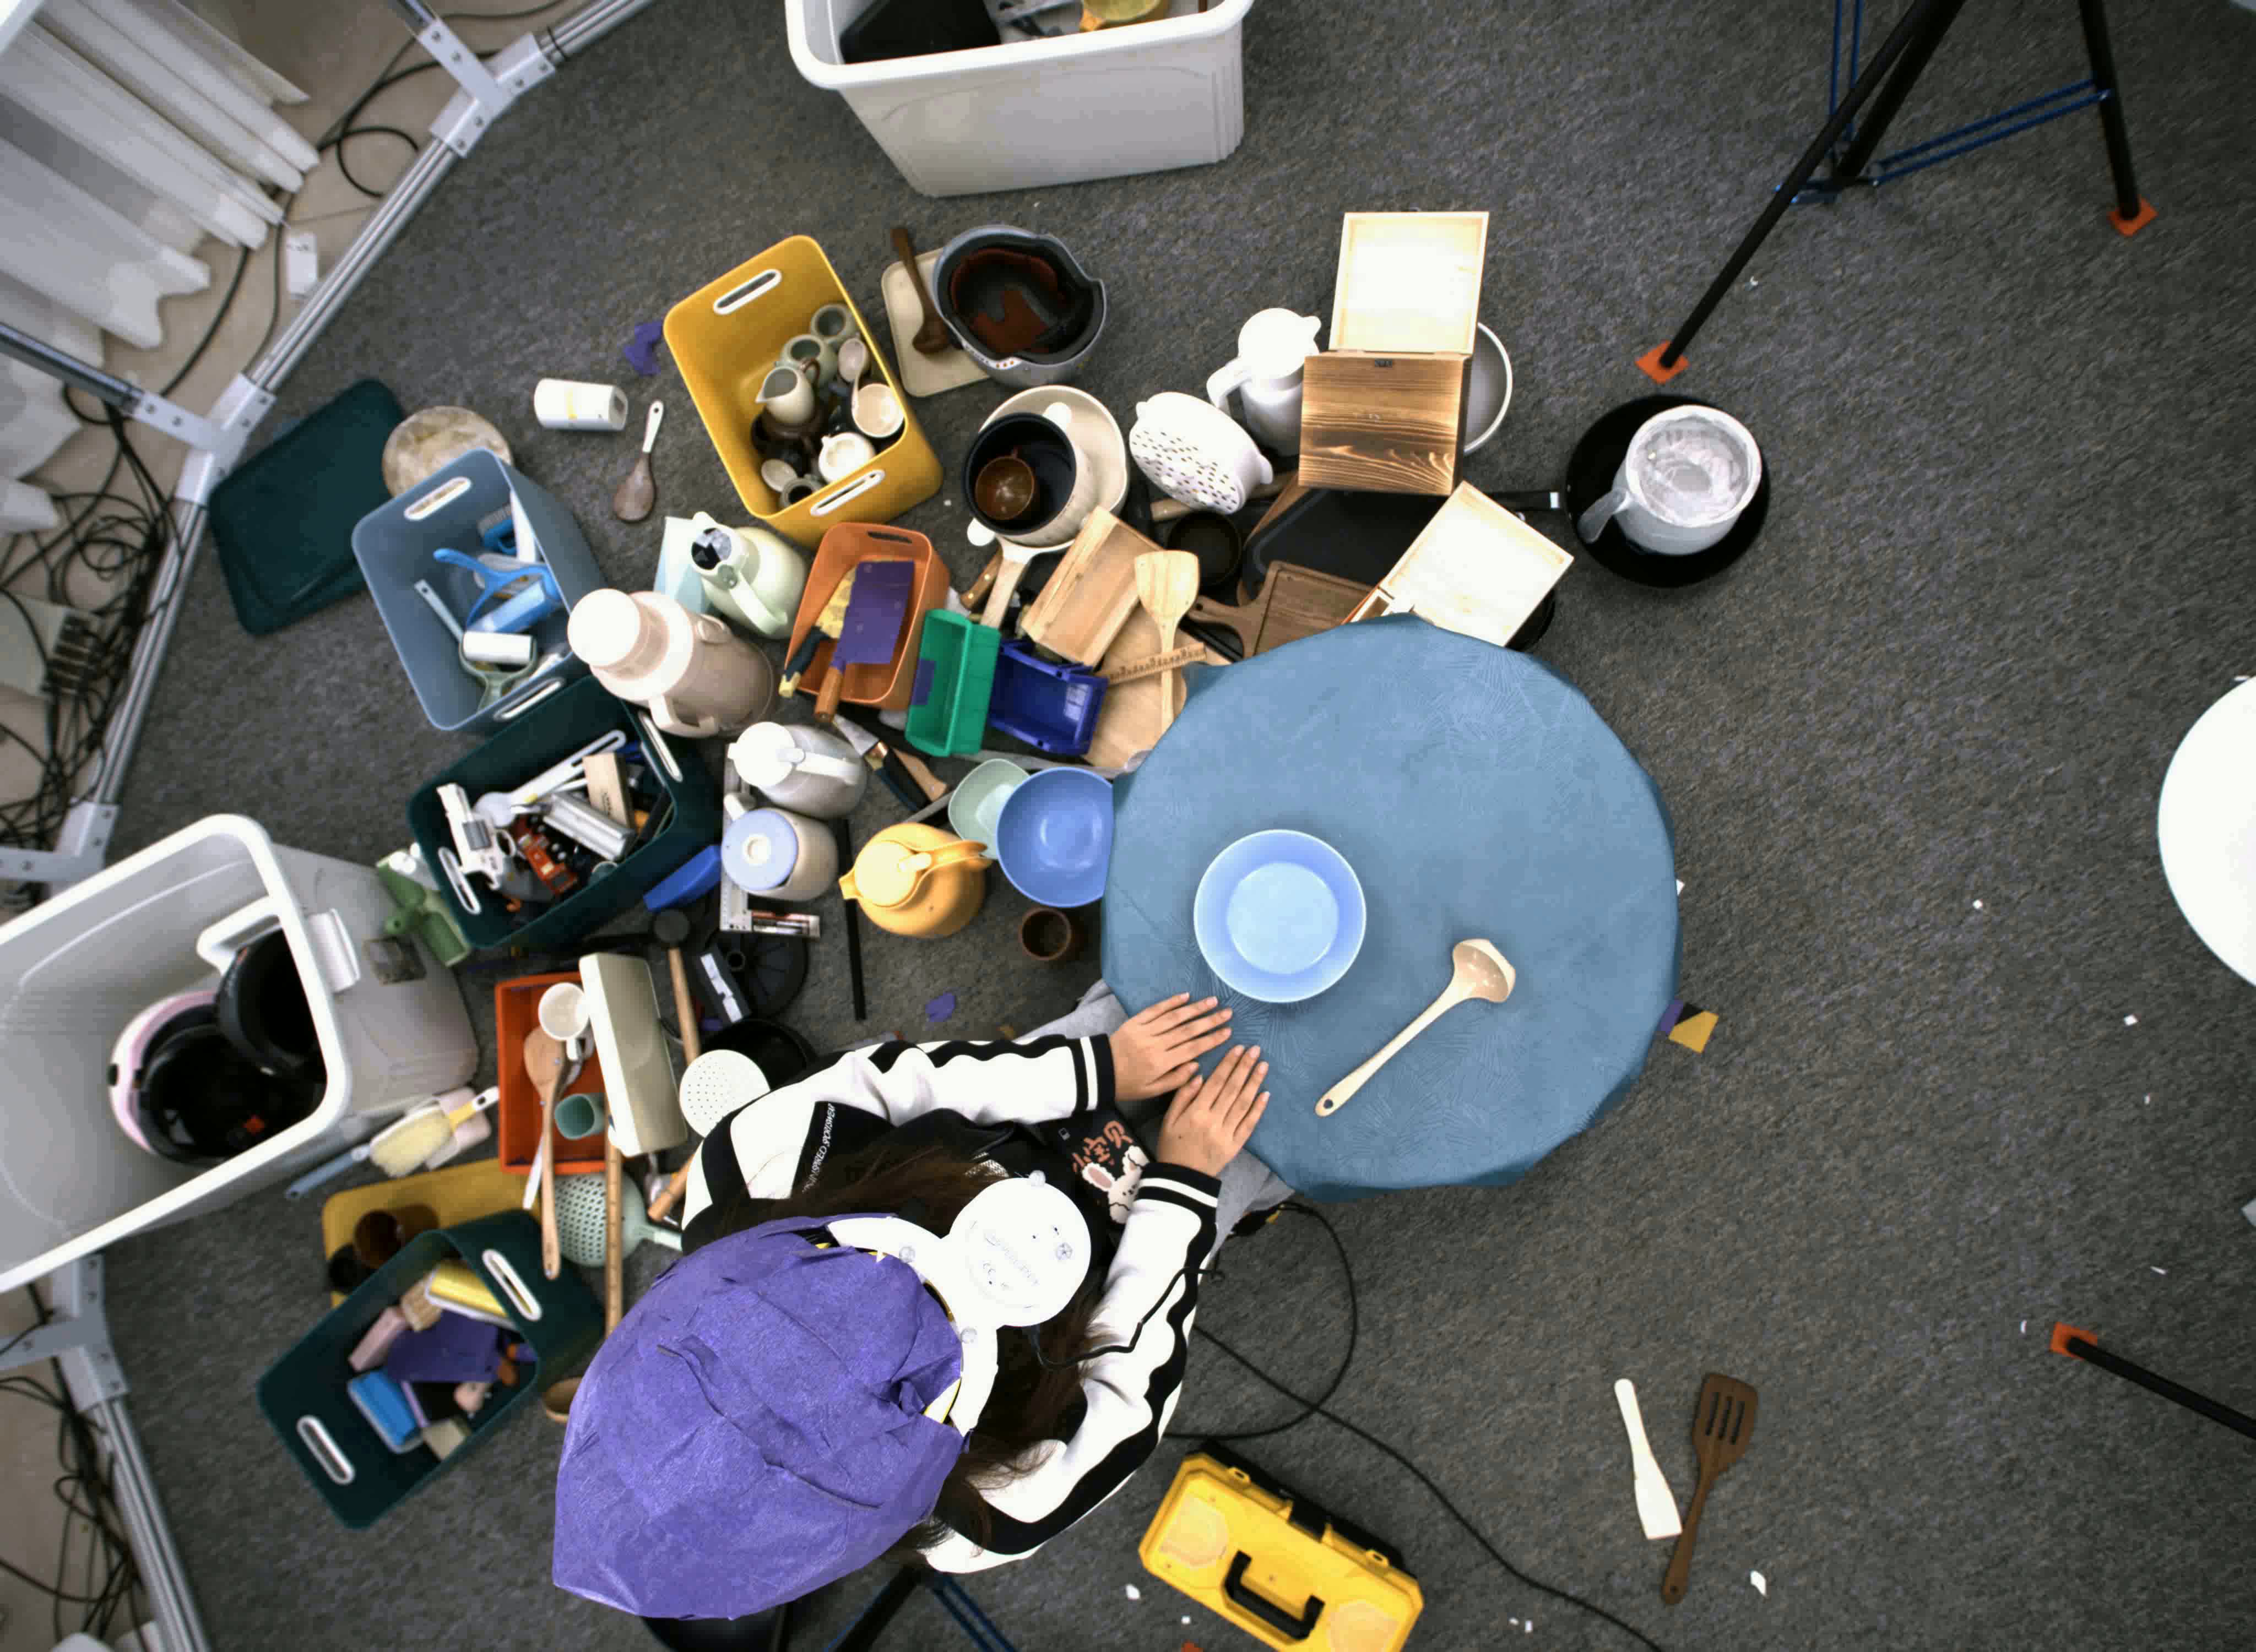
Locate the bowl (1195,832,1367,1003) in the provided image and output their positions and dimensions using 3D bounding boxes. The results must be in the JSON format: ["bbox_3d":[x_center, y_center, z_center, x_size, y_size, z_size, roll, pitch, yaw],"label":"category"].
[{"bbox_3d":[0.160,0.096,1.444,0.177,0.070,0.175,-1,85,11],"label":"bowl"}]

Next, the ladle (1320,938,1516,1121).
[{"bbox_3d":[0.289,0.214,1.412,0.255,0.073,0.072,-44,79,5],"label":"ladle"}]
